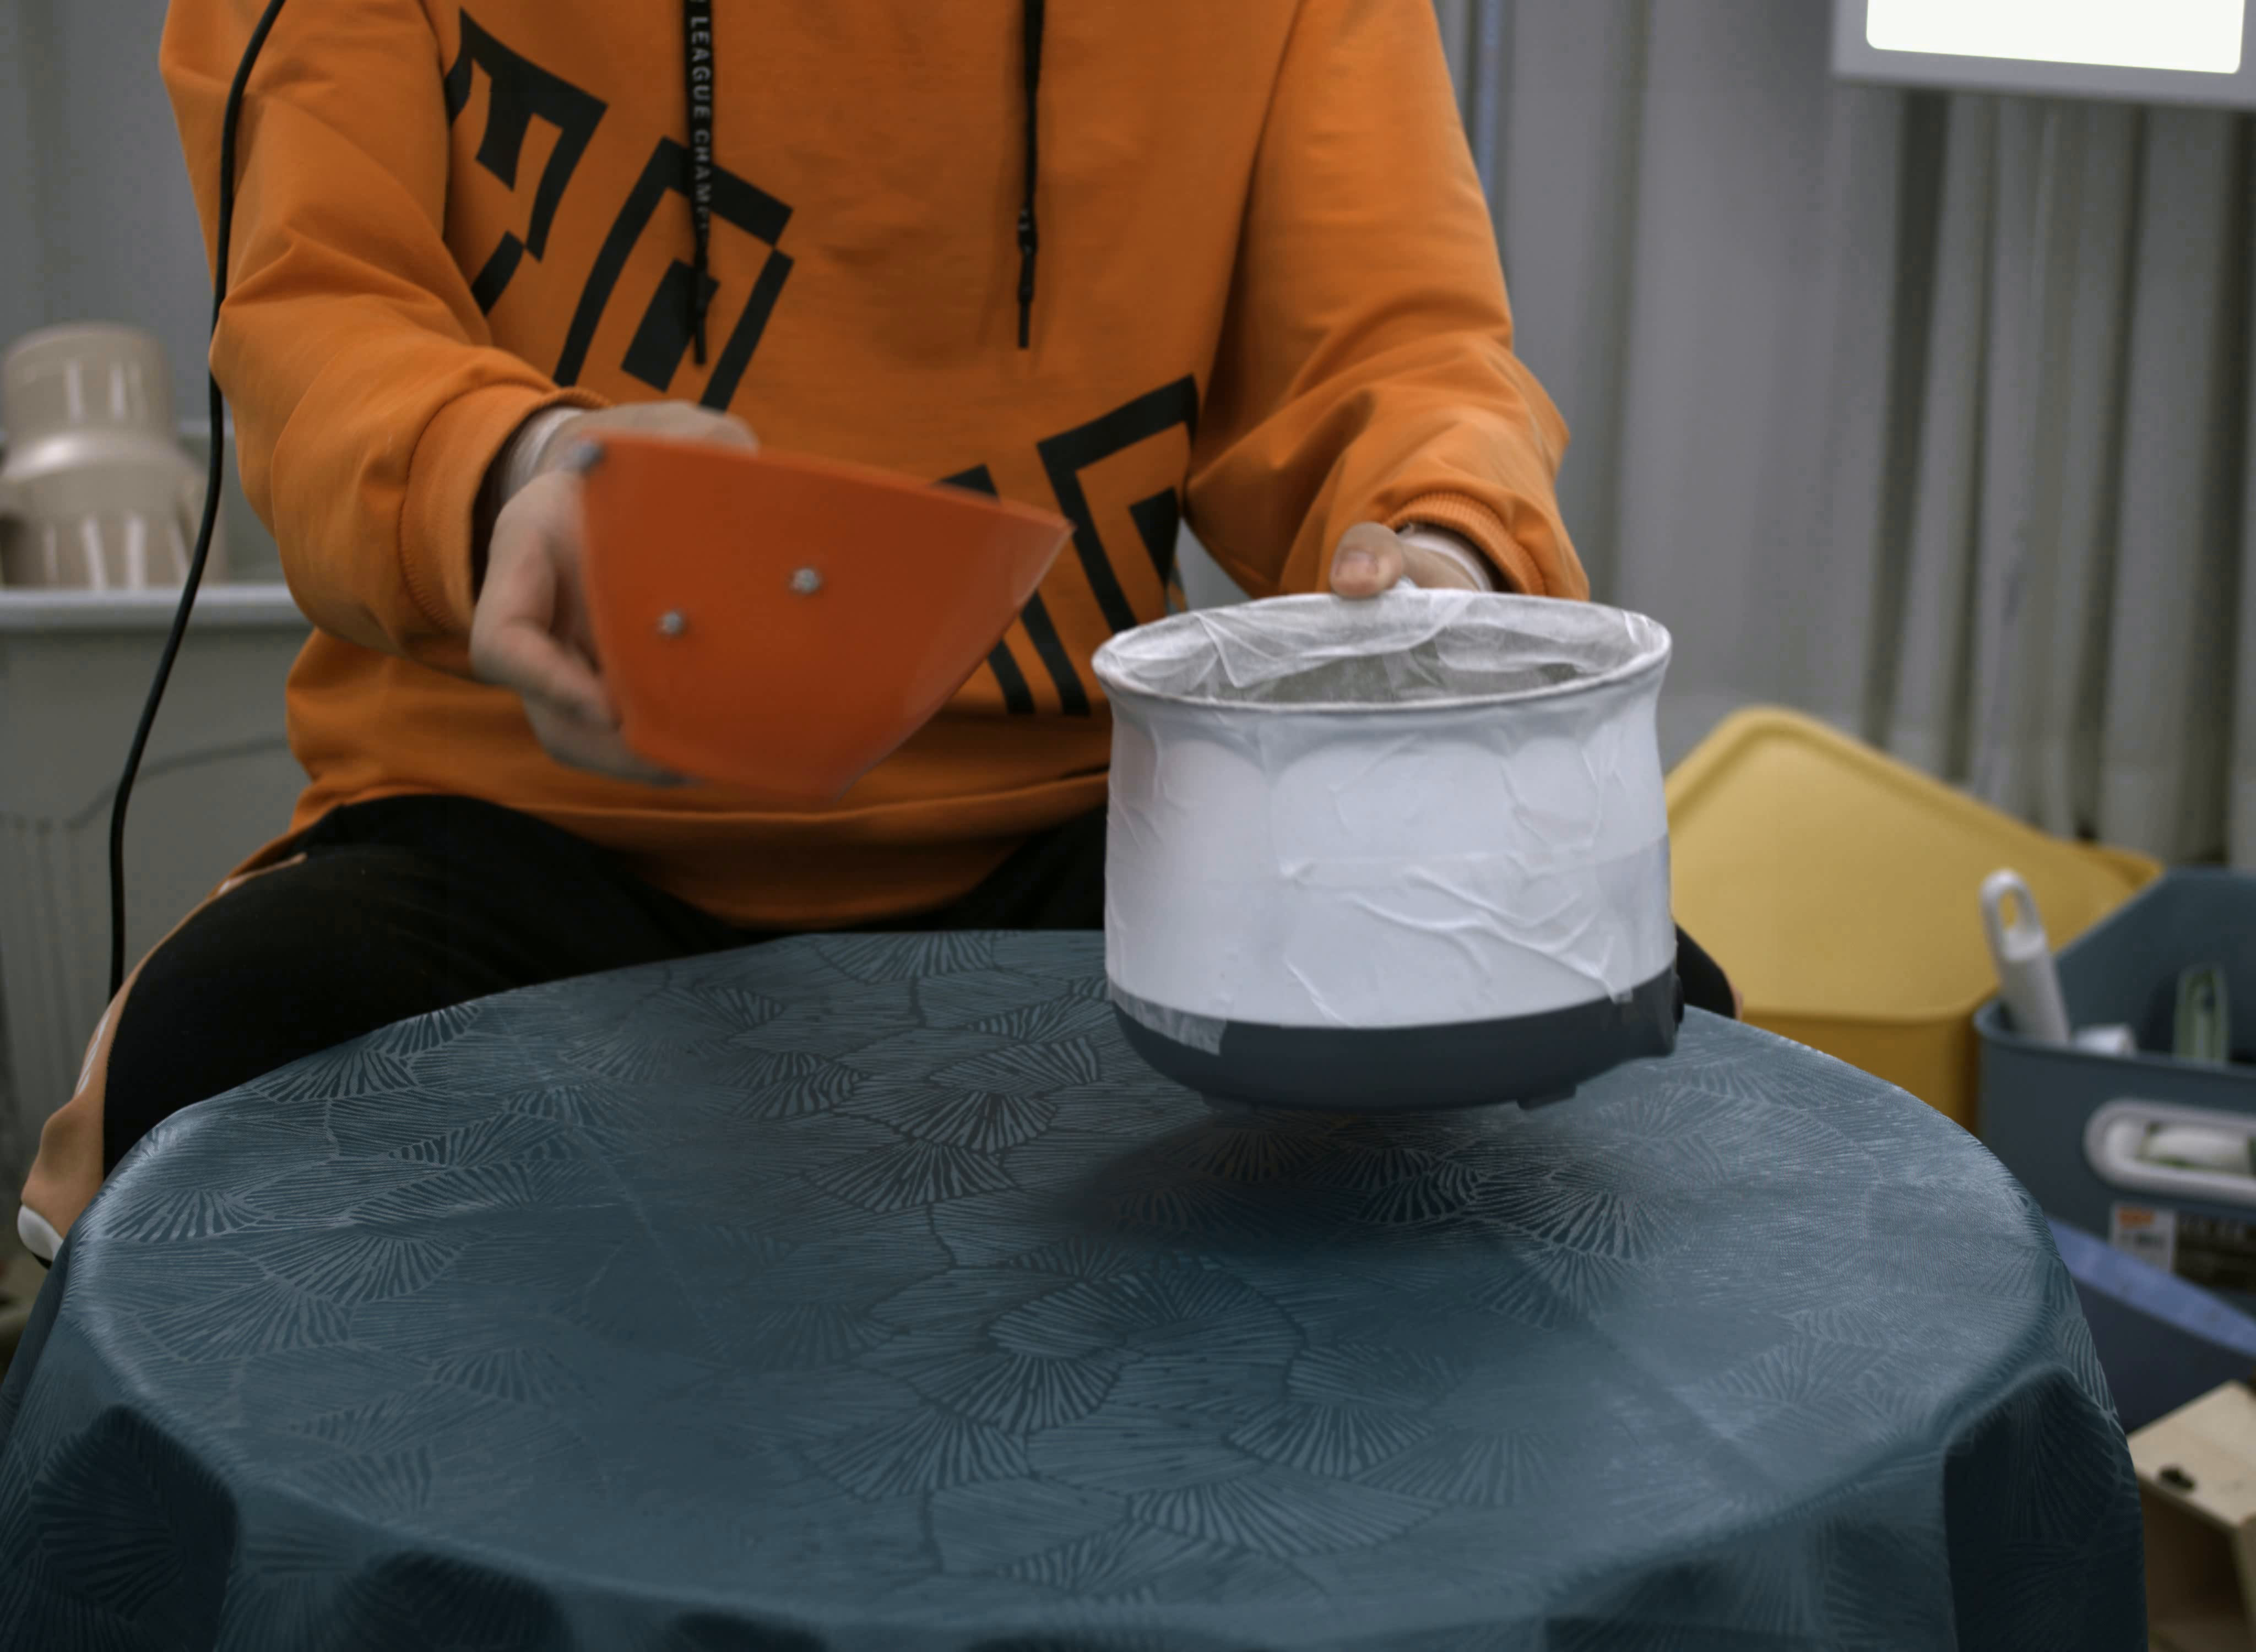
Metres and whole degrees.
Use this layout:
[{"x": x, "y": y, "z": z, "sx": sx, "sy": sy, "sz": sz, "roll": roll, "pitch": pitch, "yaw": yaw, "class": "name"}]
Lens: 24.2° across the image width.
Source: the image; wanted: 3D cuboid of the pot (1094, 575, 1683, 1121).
[{"x": 0.082, "y": 0.003, "z": 1.637, "sx": 0.178, "sy": 0.137, "sz": 0.233, "roll": -1, "pitch": 13, "yaw": 3, "class": "pot"}]

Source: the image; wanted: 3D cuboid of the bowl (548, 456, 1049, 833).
[{"x": -0.105, "y": -0.054, "z": 1.536, "sx": 0.147, "sy": 0.105, "sz": 0.147, "roll": 14, "pitch": 7, "yaw": -1, "class": "bowl"}]
